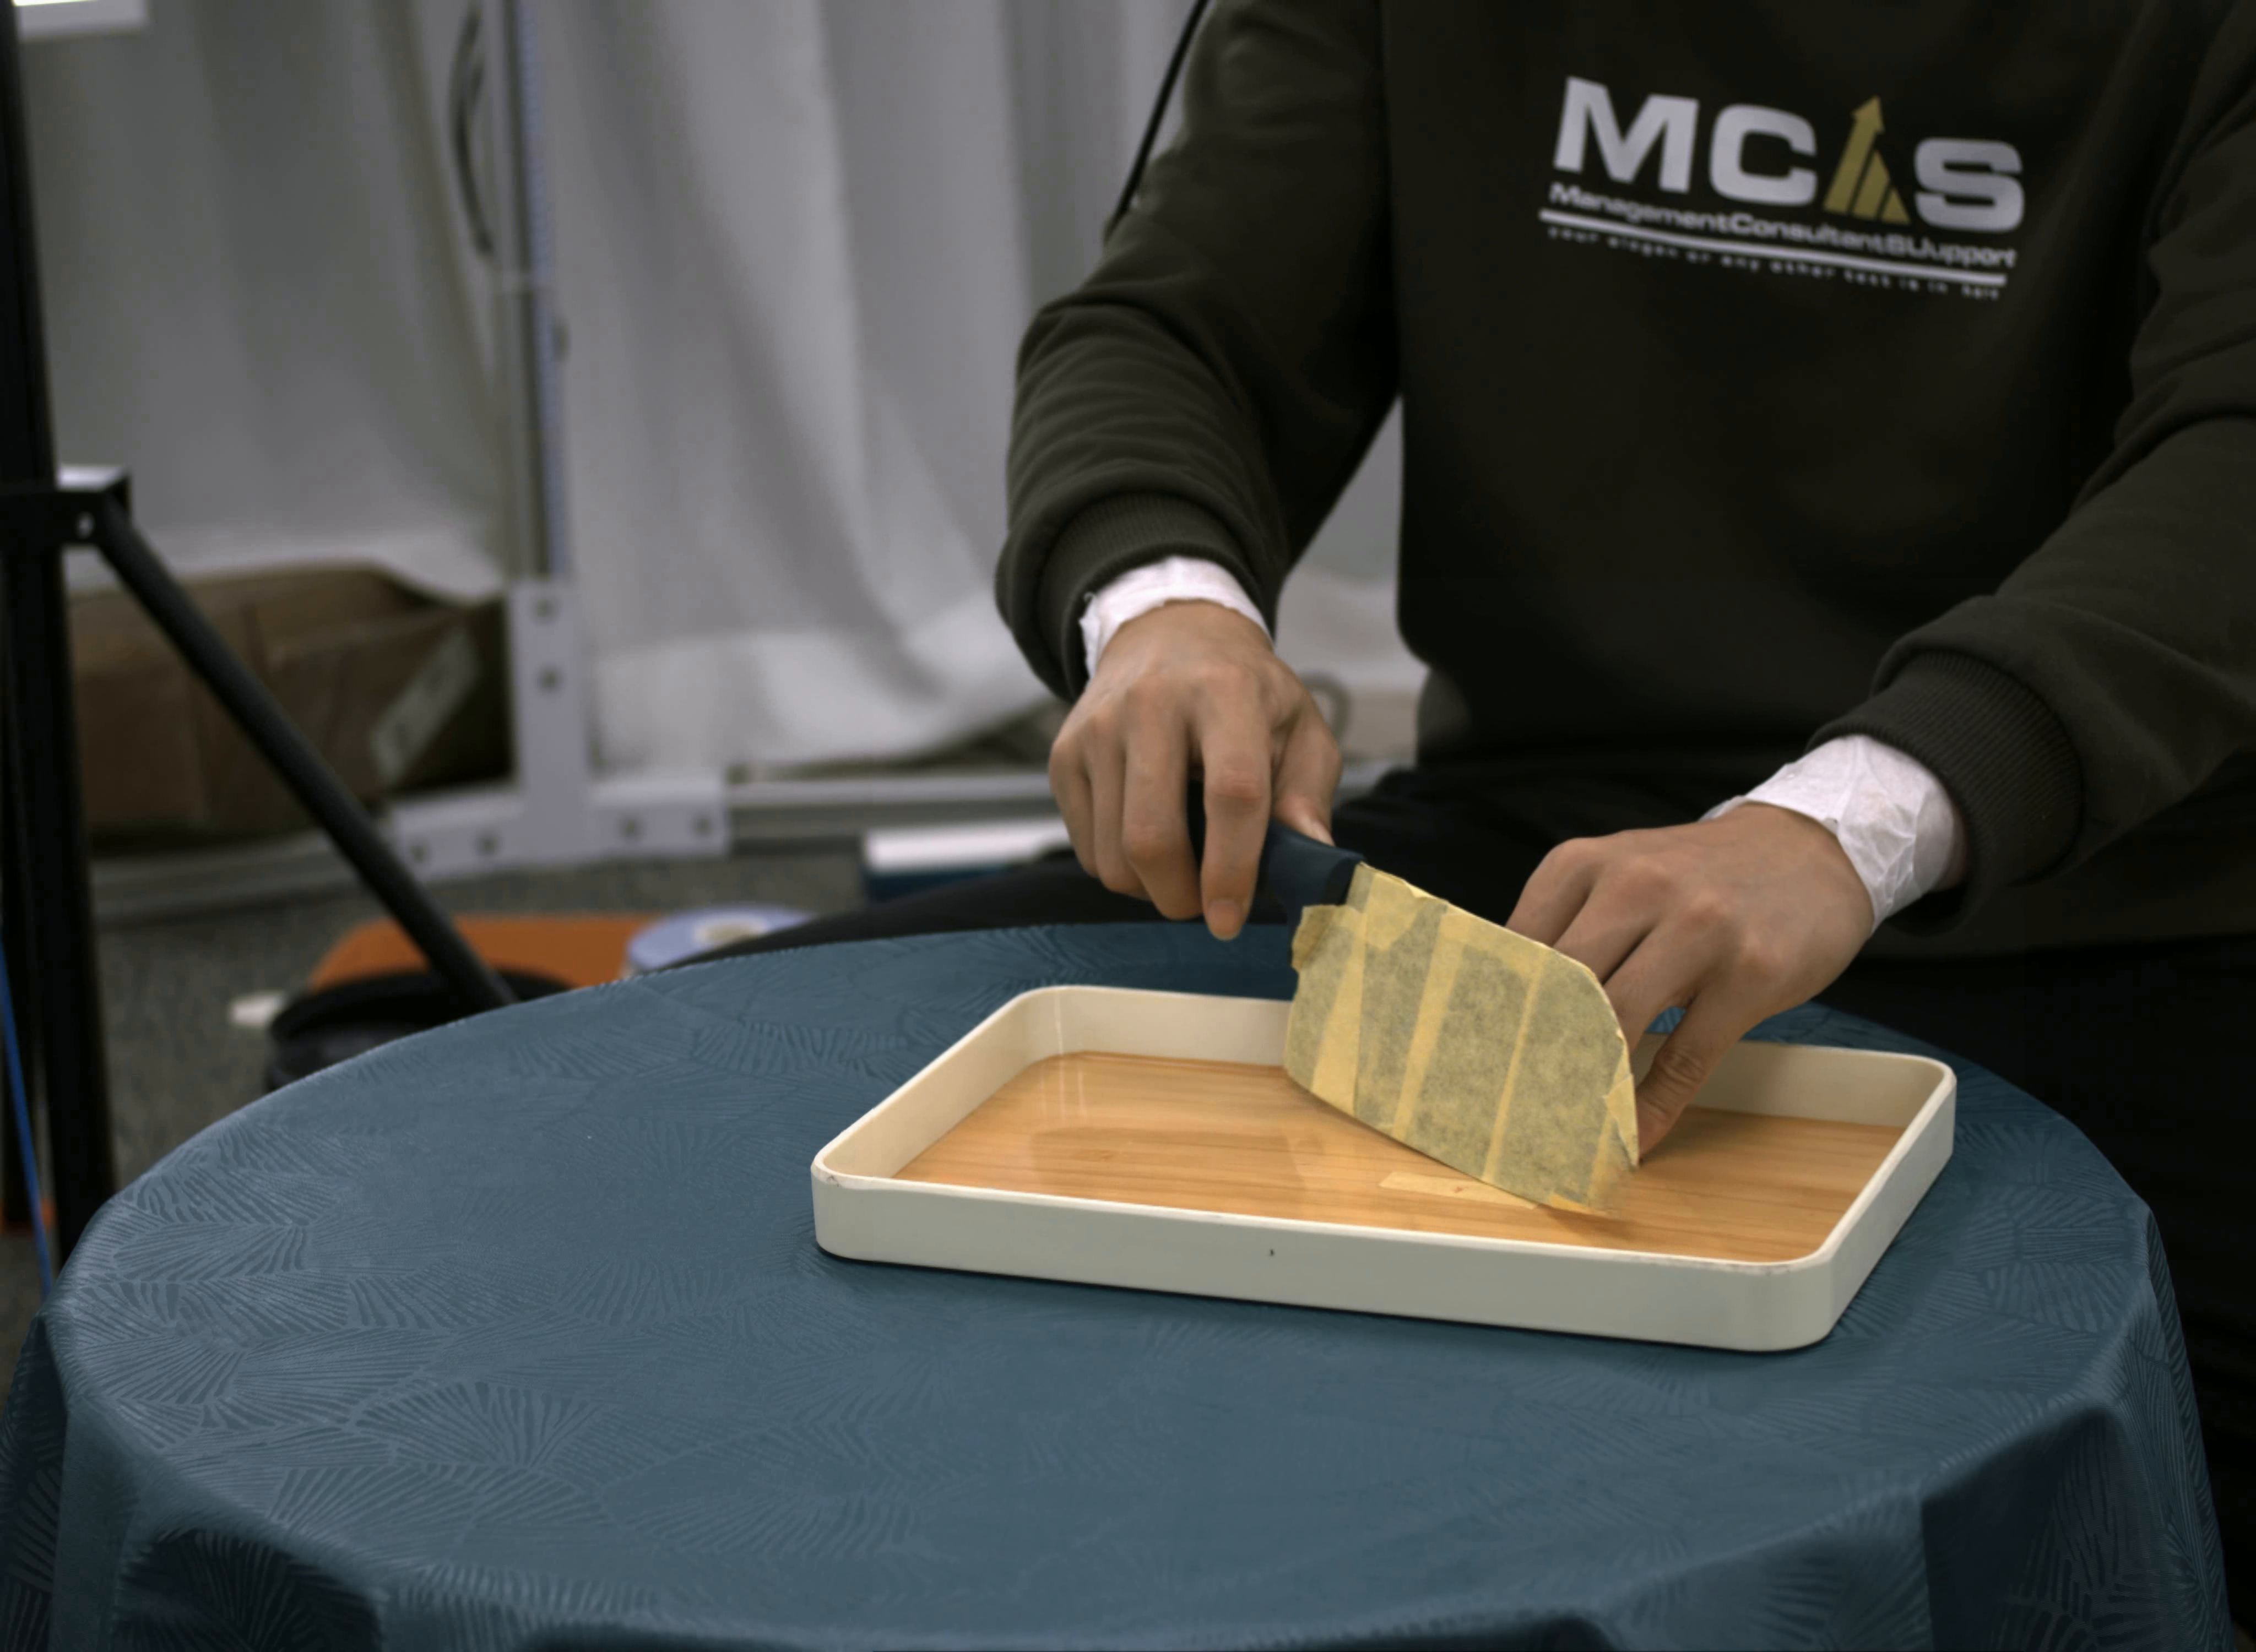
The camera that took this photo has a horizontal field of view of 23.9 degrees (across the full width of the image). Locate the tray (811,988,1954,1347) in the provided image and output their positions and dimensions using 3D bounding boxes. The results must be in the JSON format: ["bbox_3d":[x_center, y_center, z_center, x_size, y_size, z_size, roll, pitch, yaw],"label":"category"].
[{"bbox_3d":[0.077,0.097,1.543,0.304,0.027,0.189,5,16,22],"label":"tray"}]

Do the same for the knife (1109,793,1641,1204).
[{"bbox_3d":[0.070,0.048,1.598,0.026,0.081,0.296,12,11,-33],"label":"knife"}]
